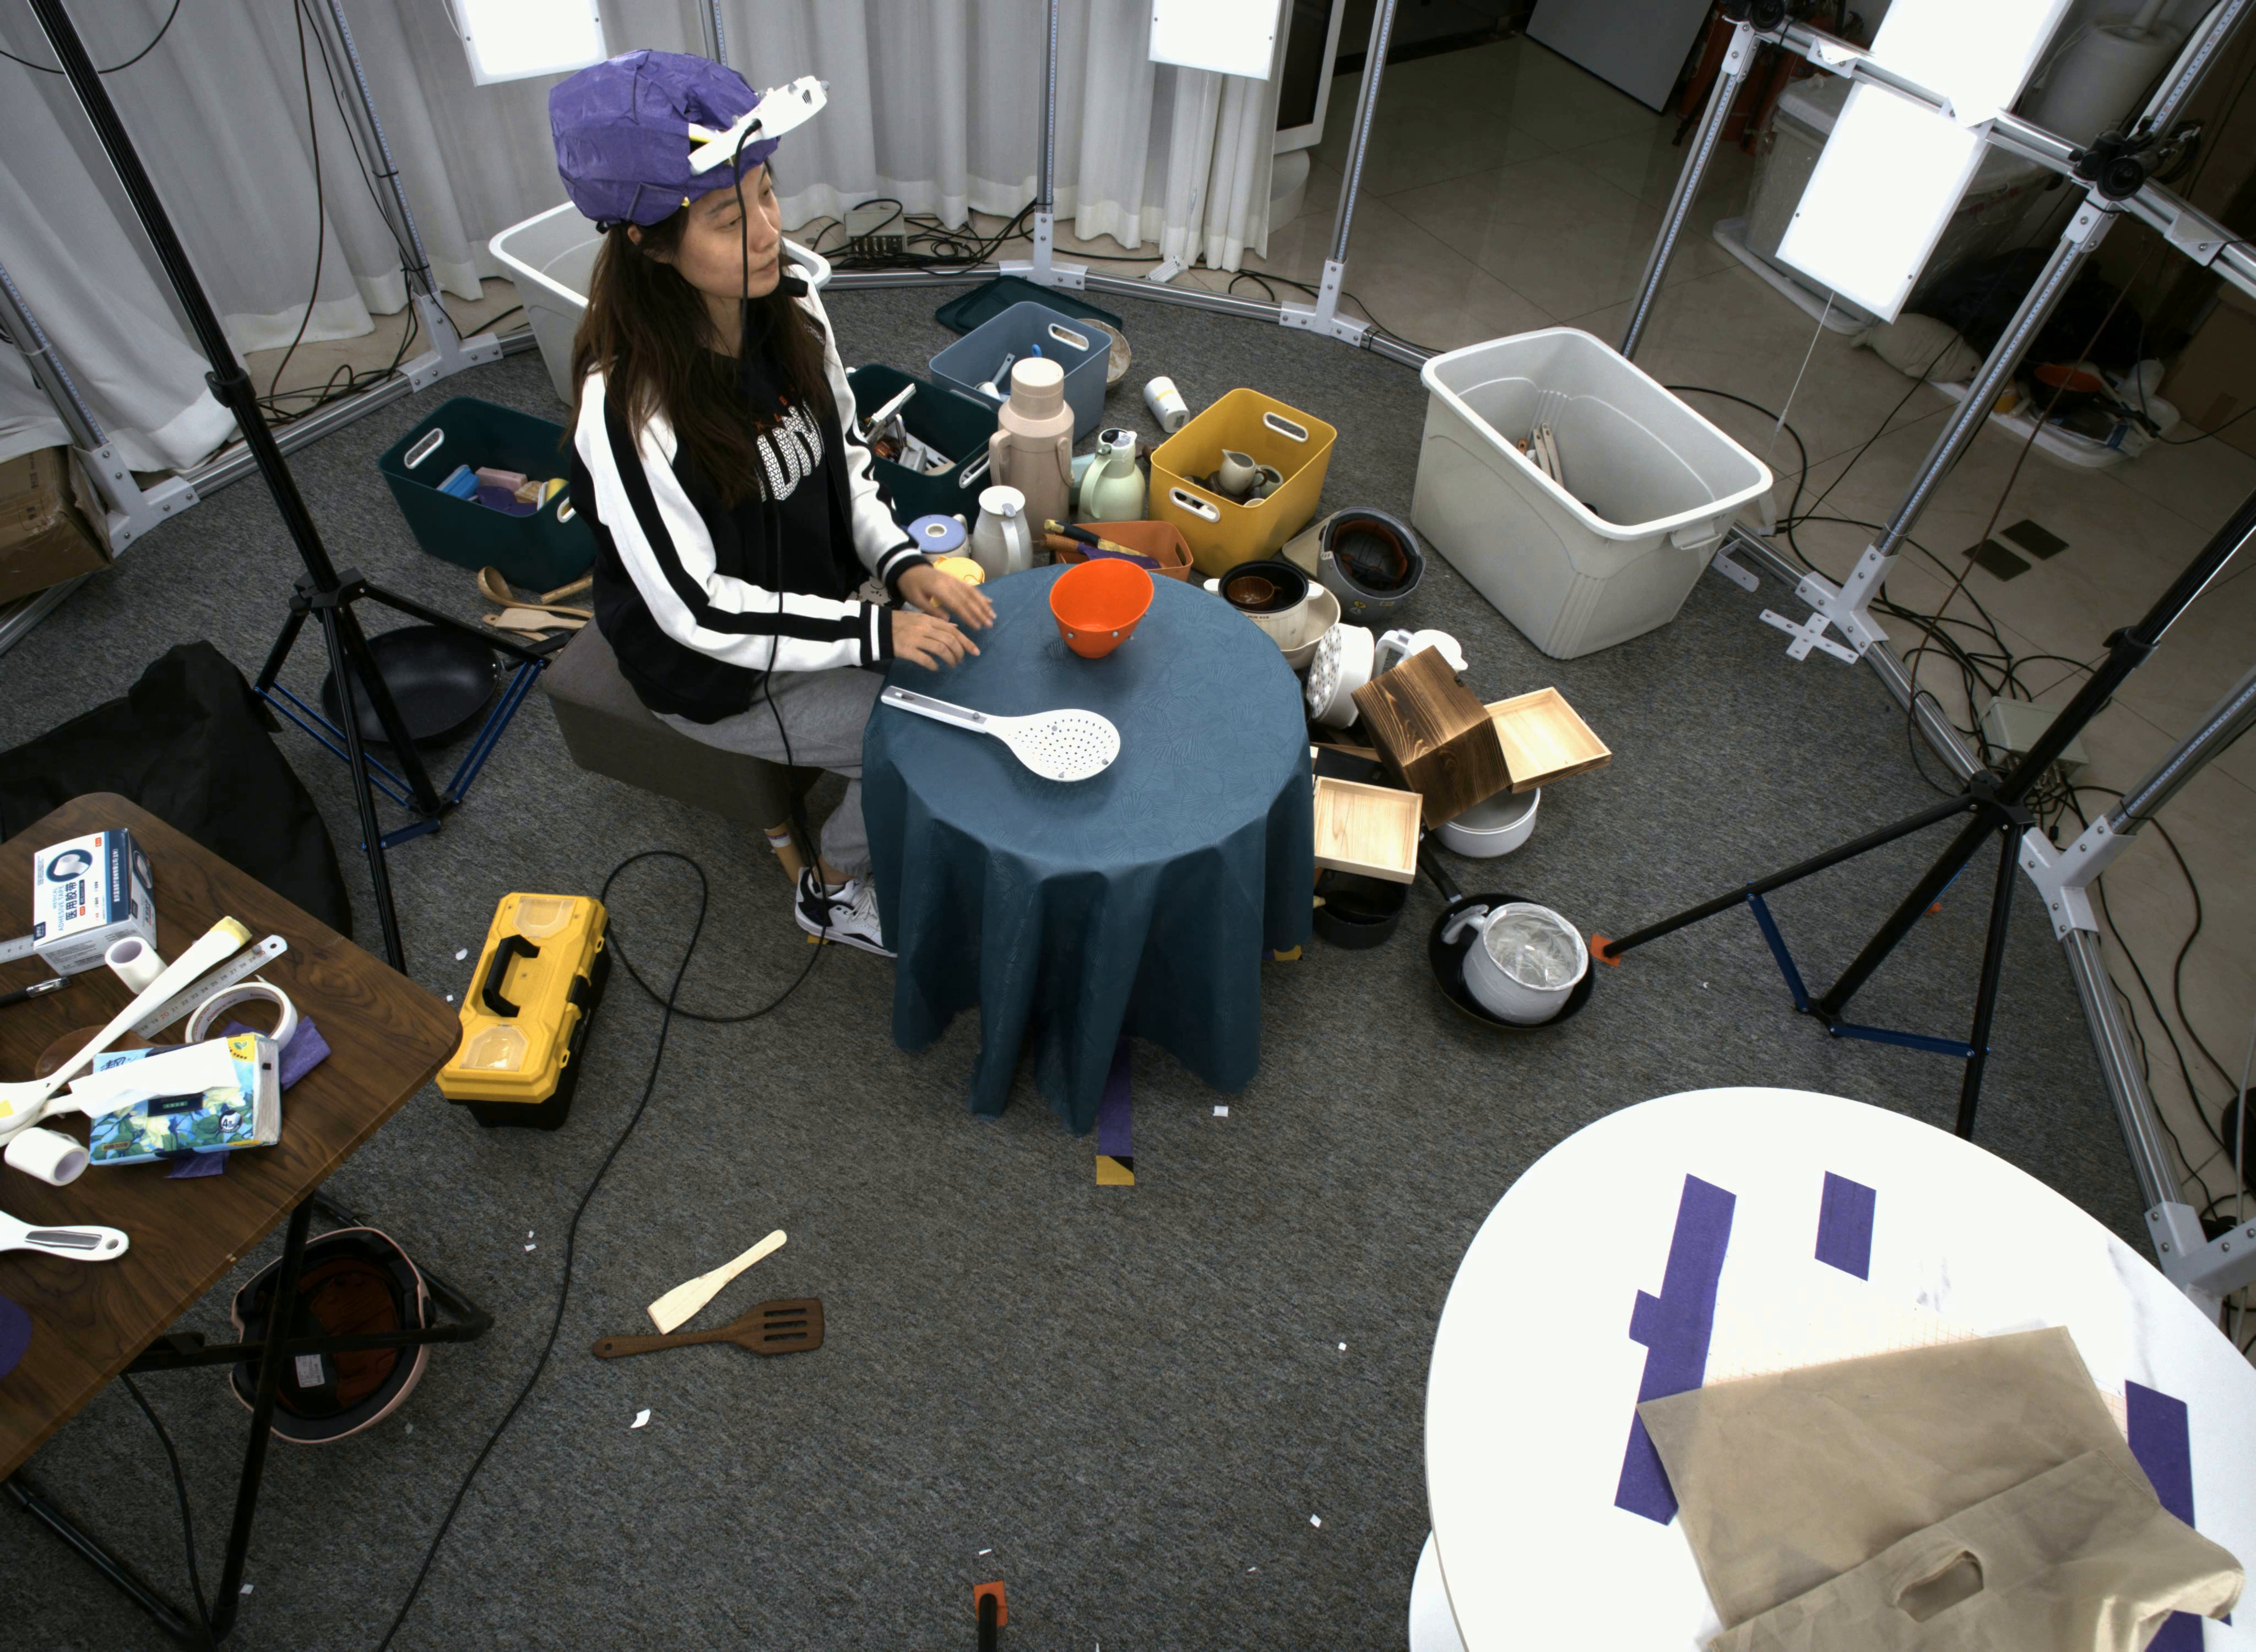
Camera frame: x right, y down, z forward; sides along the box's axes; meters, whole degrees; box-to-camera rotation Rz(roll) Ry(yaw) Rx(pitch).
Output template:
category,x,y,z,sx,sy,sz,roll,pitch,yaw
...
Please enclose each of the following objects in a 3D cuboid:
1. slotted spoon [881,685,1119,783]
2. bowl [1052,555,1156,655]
category,x,y,z,sx,sy,sz,roll,pitch,yaw
slotted spoon,-0.179,-0.135,1.746,0.352,0.044,0.138,20,49,14
bowl,-0.035,-0.308,1.863,0.148,0.102,0.151,1,56,-2
